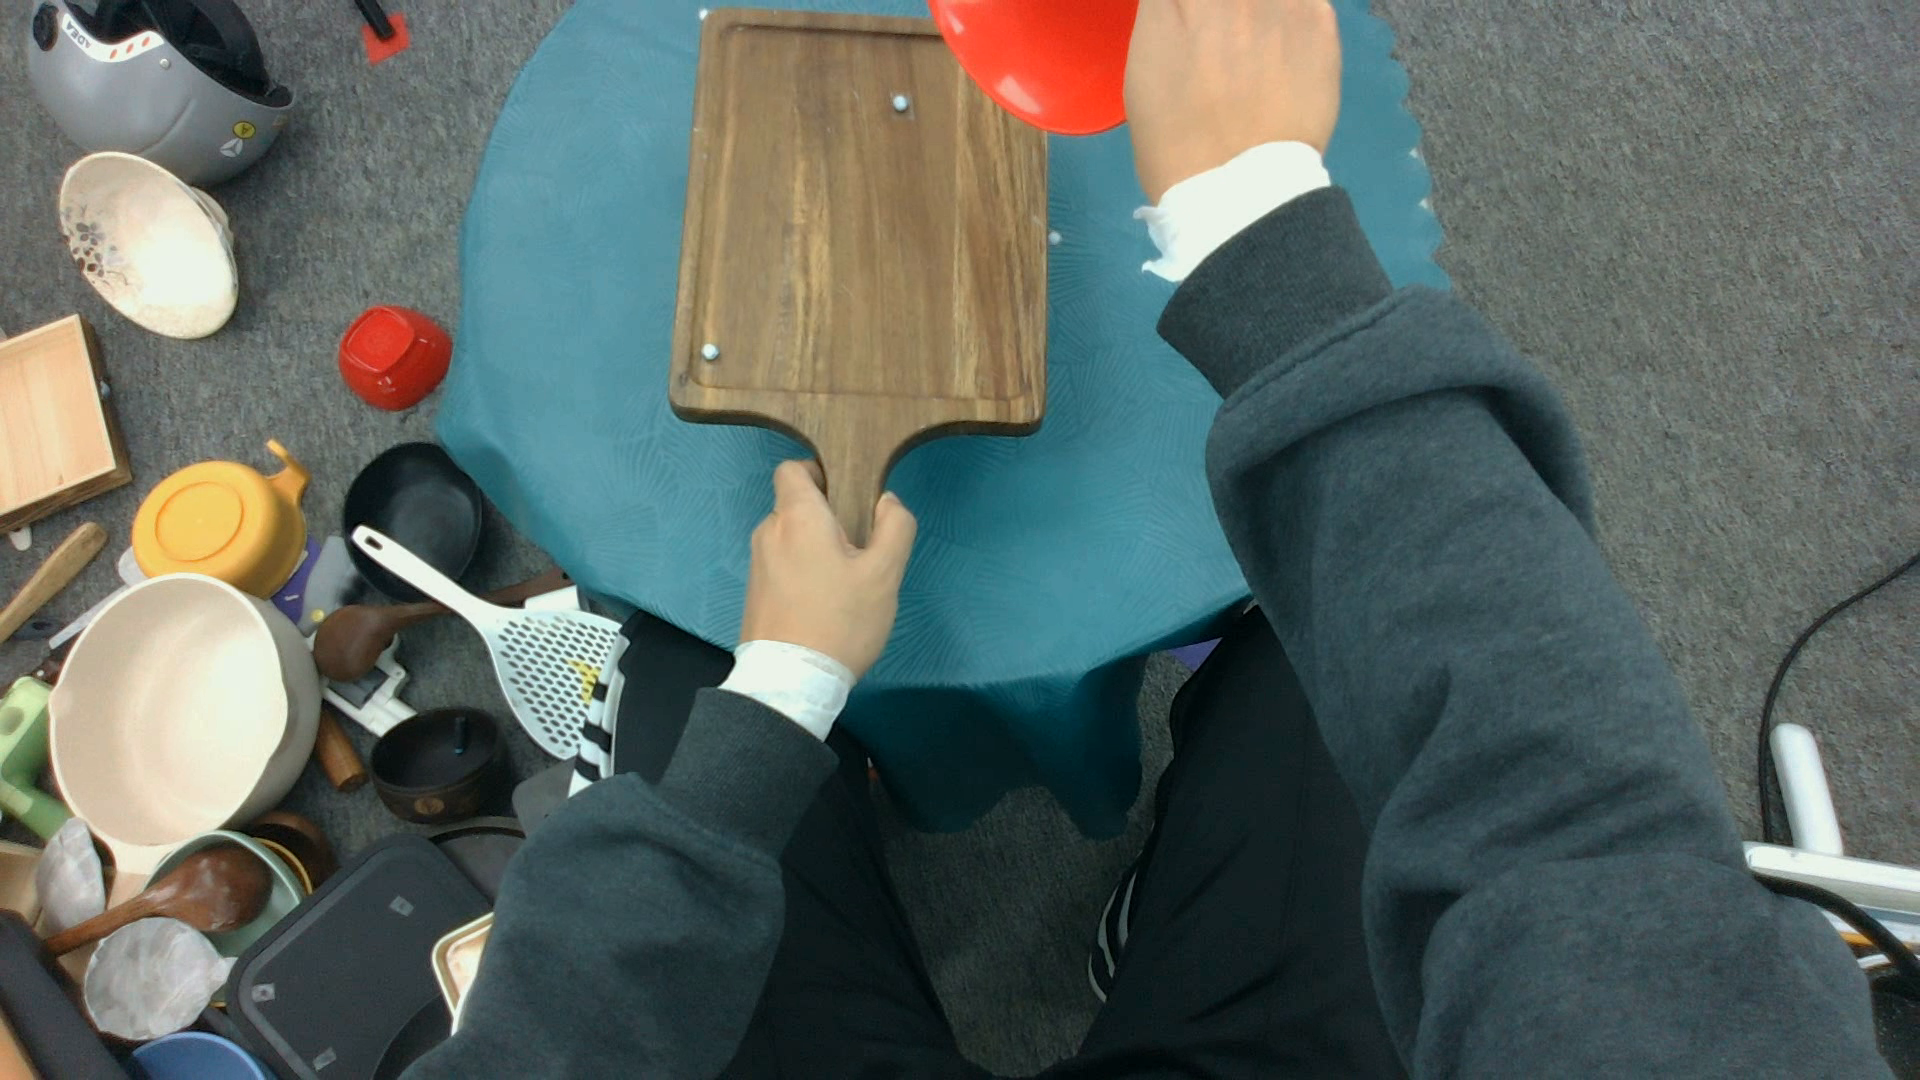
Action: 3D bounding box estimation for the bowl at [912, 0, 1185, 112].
[{"bbox_3d":[0.052,-0.271,0.584,0.105,0.147,0.148,-36,73,-22],"label":"bowl"}]

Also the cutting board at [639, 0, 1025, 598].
[{"bbox_3d":[-0.066,-0.140,0.734,0.201,0.023,0.353,1,71,-4],"label":"cutting board"}]
